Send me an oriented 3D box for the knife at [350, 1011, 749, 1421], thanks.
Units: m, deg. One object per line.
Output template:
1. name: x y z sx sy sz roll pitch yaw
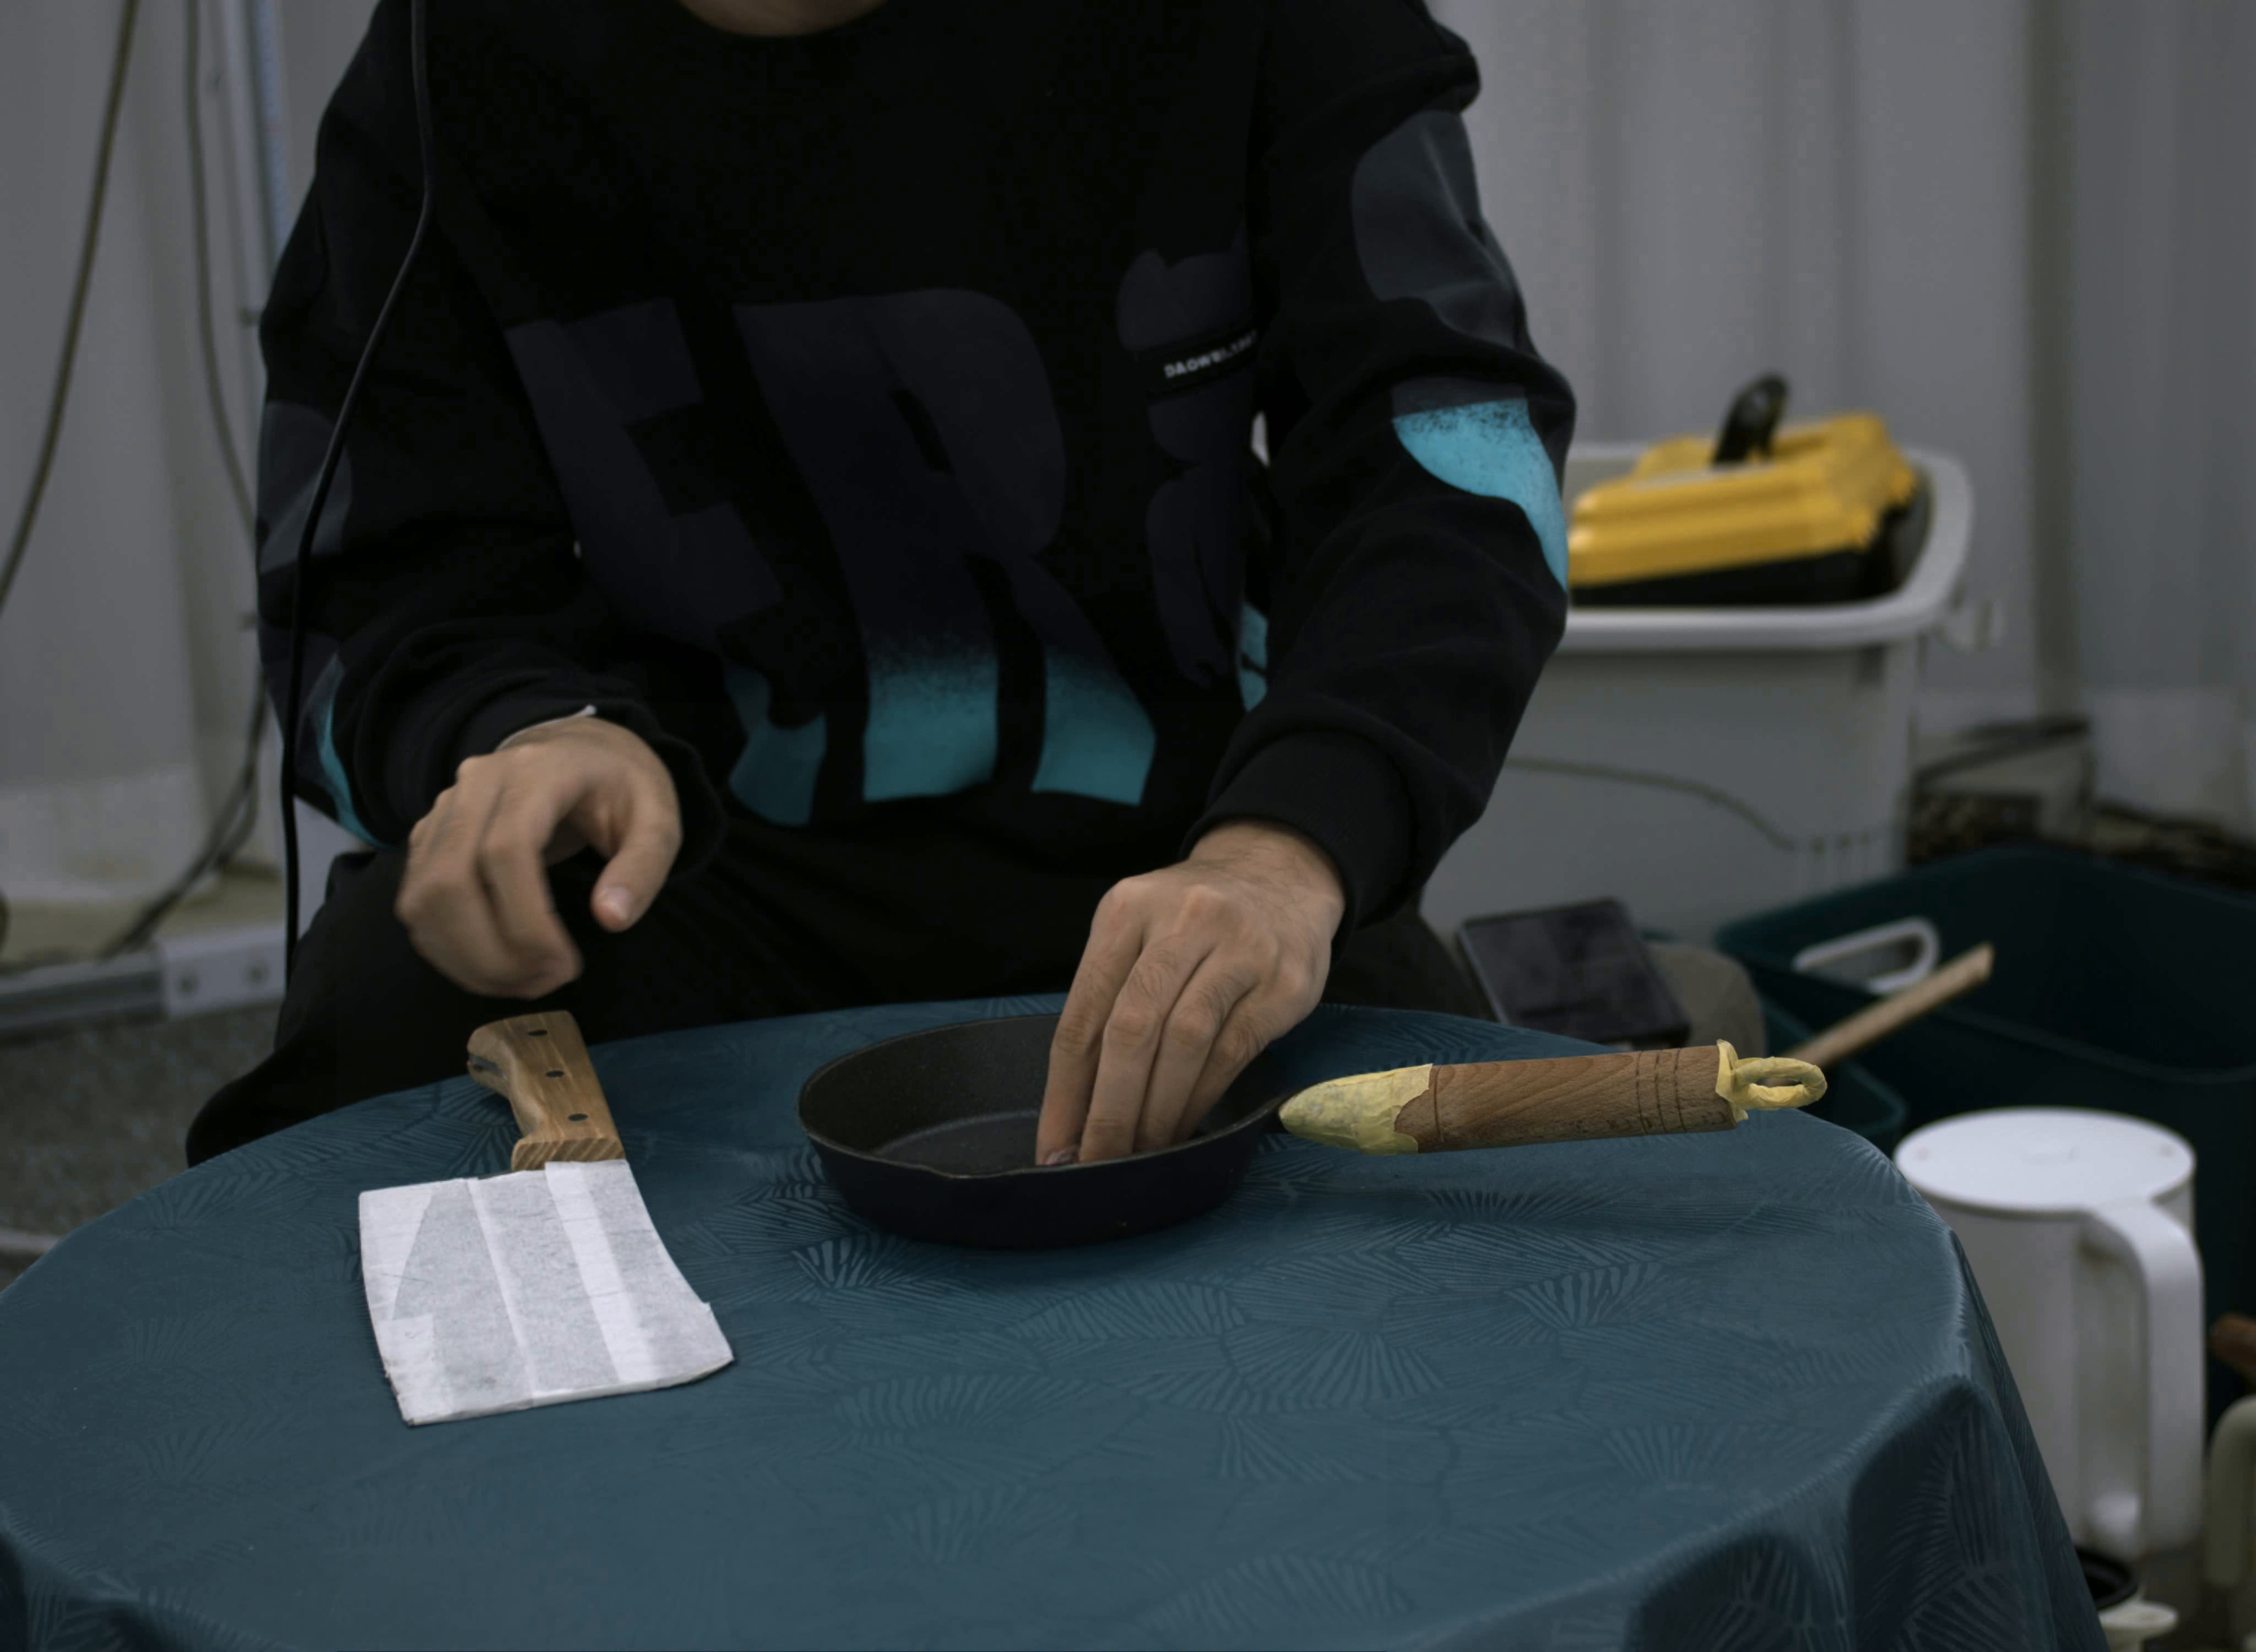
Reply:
1. knife: -0.185 0.119 1.701 0.113 0.021 0.318 -5 18 -8

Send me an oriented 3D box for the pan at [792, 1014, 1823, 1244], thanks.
1. pan: 0.054 0.091 1.696 0.324 0.049 0.169 0 14 16
